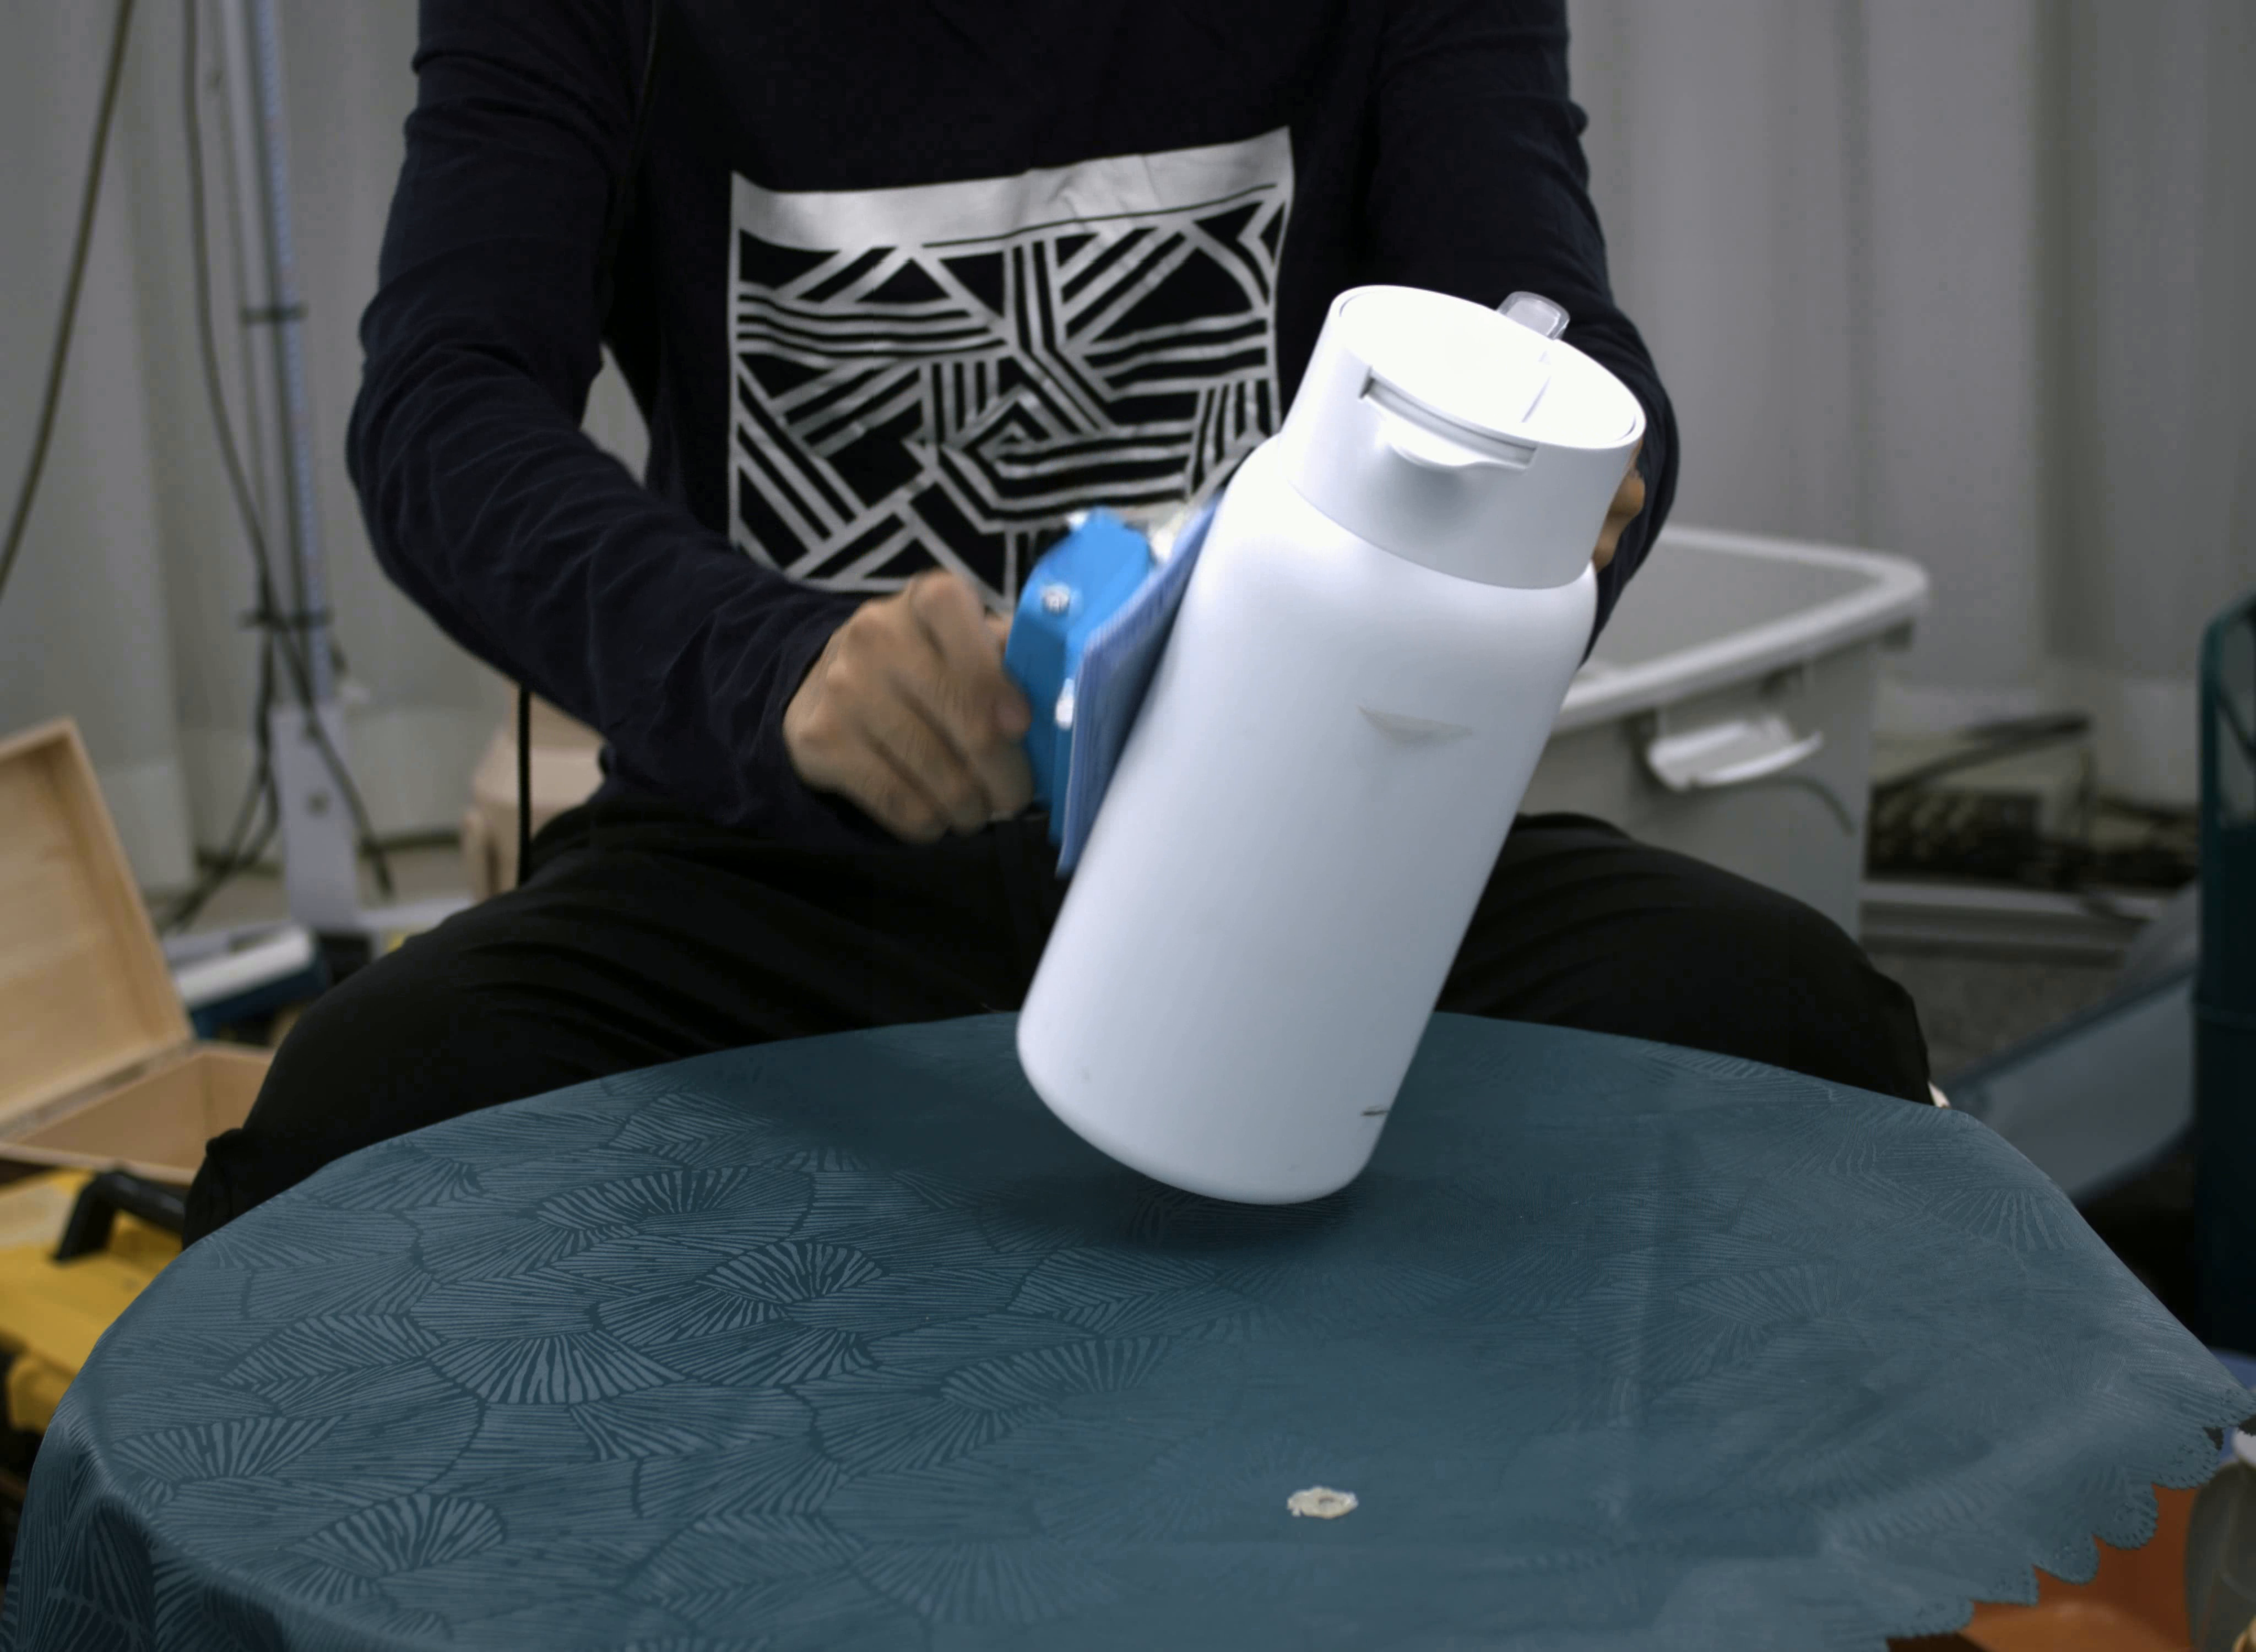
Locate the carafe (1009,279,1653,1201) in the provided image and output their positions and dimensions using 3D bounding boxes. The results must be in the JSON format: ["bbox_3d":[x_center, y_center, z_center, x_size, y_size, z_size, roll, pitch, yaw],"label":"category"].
[{"bbox_3d":[0.063,-0.031,1.660,0.124,0.267,0.174,23,24,8],"label":"carafe"}]

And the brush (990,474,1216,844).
[{"bbox_3d":[-0.013,-0.057,1.690,0.056,0.142,0.084,36,67,13],"label":"brush"}]
